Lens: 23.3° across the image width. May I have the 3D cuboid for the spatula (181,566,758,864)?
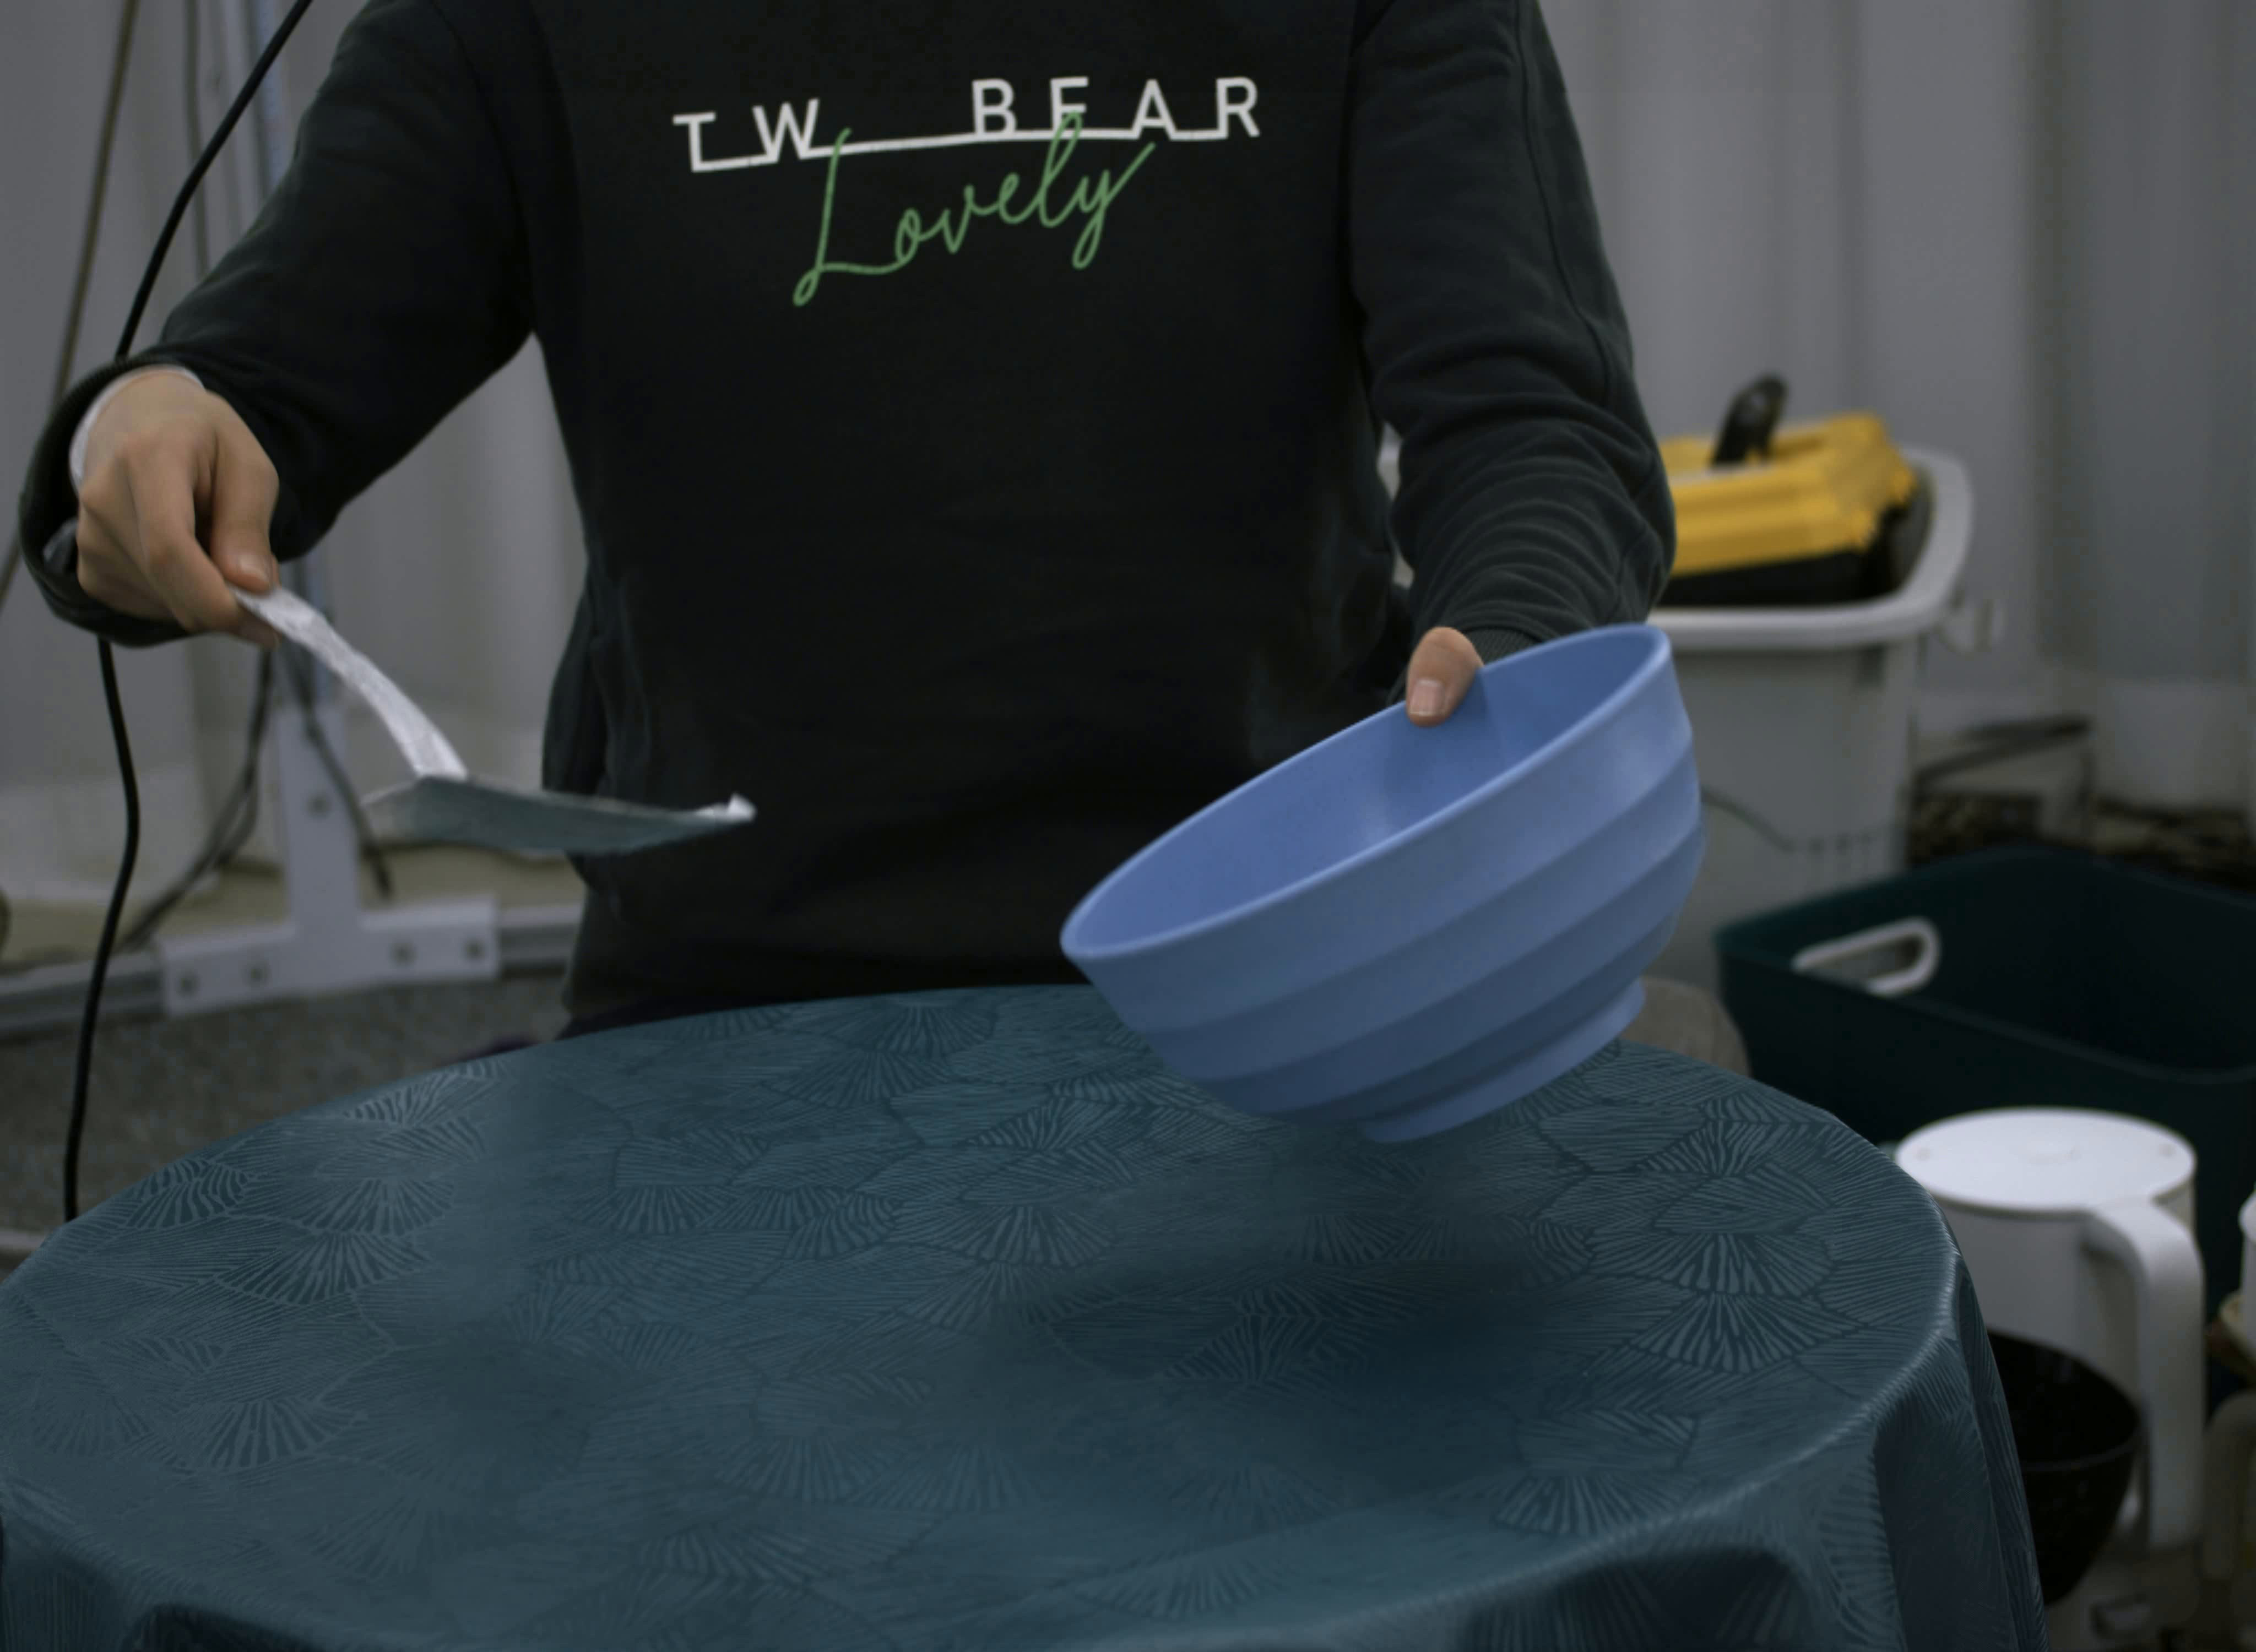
[{"bbox_3d":[-0.219,-0.042,1.614,0.098,0.044,0.368,6,16,-29],"label":"spatula"}]

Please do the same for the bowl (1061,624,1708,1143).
[{"bbox_3d":[0.088,0.028,1.581,0.196,0.095,0.197,-25,10,4],"label":"bowl"}]
